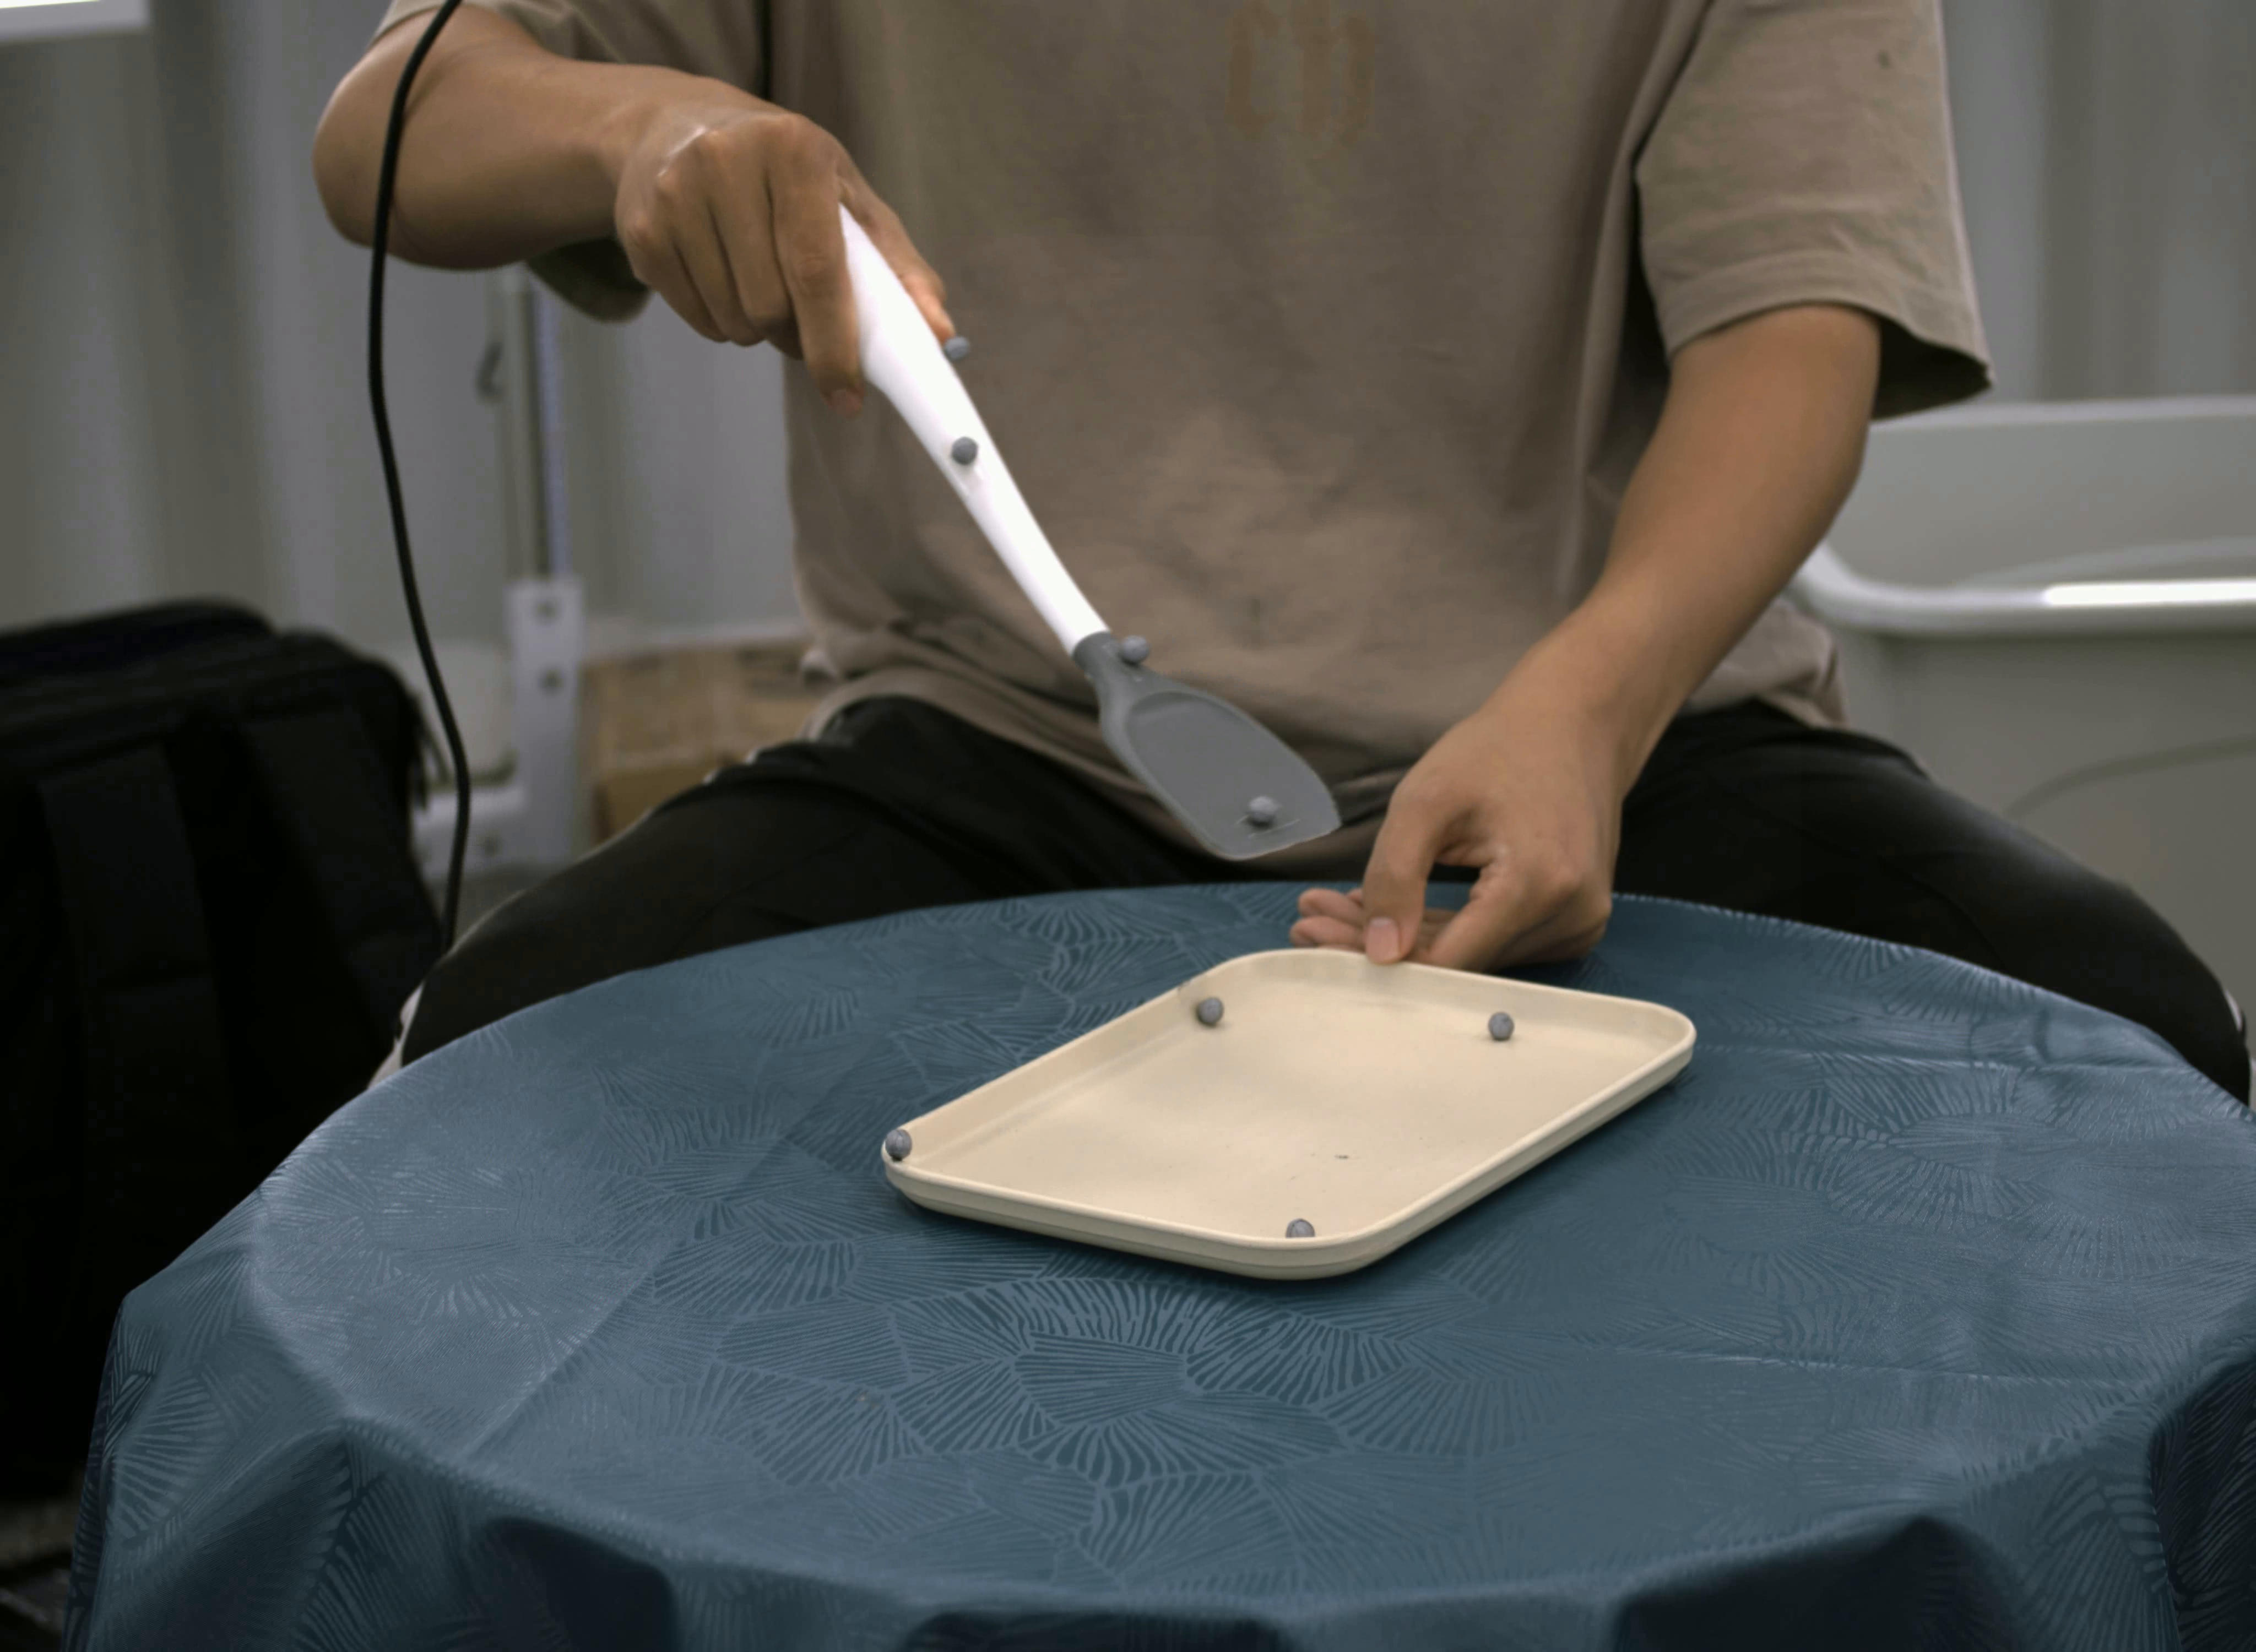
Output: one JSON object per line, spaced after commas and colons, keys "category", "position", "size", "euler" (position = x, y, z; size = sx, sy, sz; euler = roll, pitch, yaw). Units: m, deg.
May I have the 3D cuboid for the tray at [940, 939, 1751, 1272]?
{"category": "tray", "position": [0.069, 0.083, 1.591], "size": [0.175, 0.017, 0.235], "euler": [10, 20, 33]}

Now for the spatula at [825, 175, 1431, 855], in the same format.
{"category": "spatula", "position": [-0.007, -0.092, 1.620], "size": [0.057, 0.032, 0.293], "euler": [-13, 53, -35]}
